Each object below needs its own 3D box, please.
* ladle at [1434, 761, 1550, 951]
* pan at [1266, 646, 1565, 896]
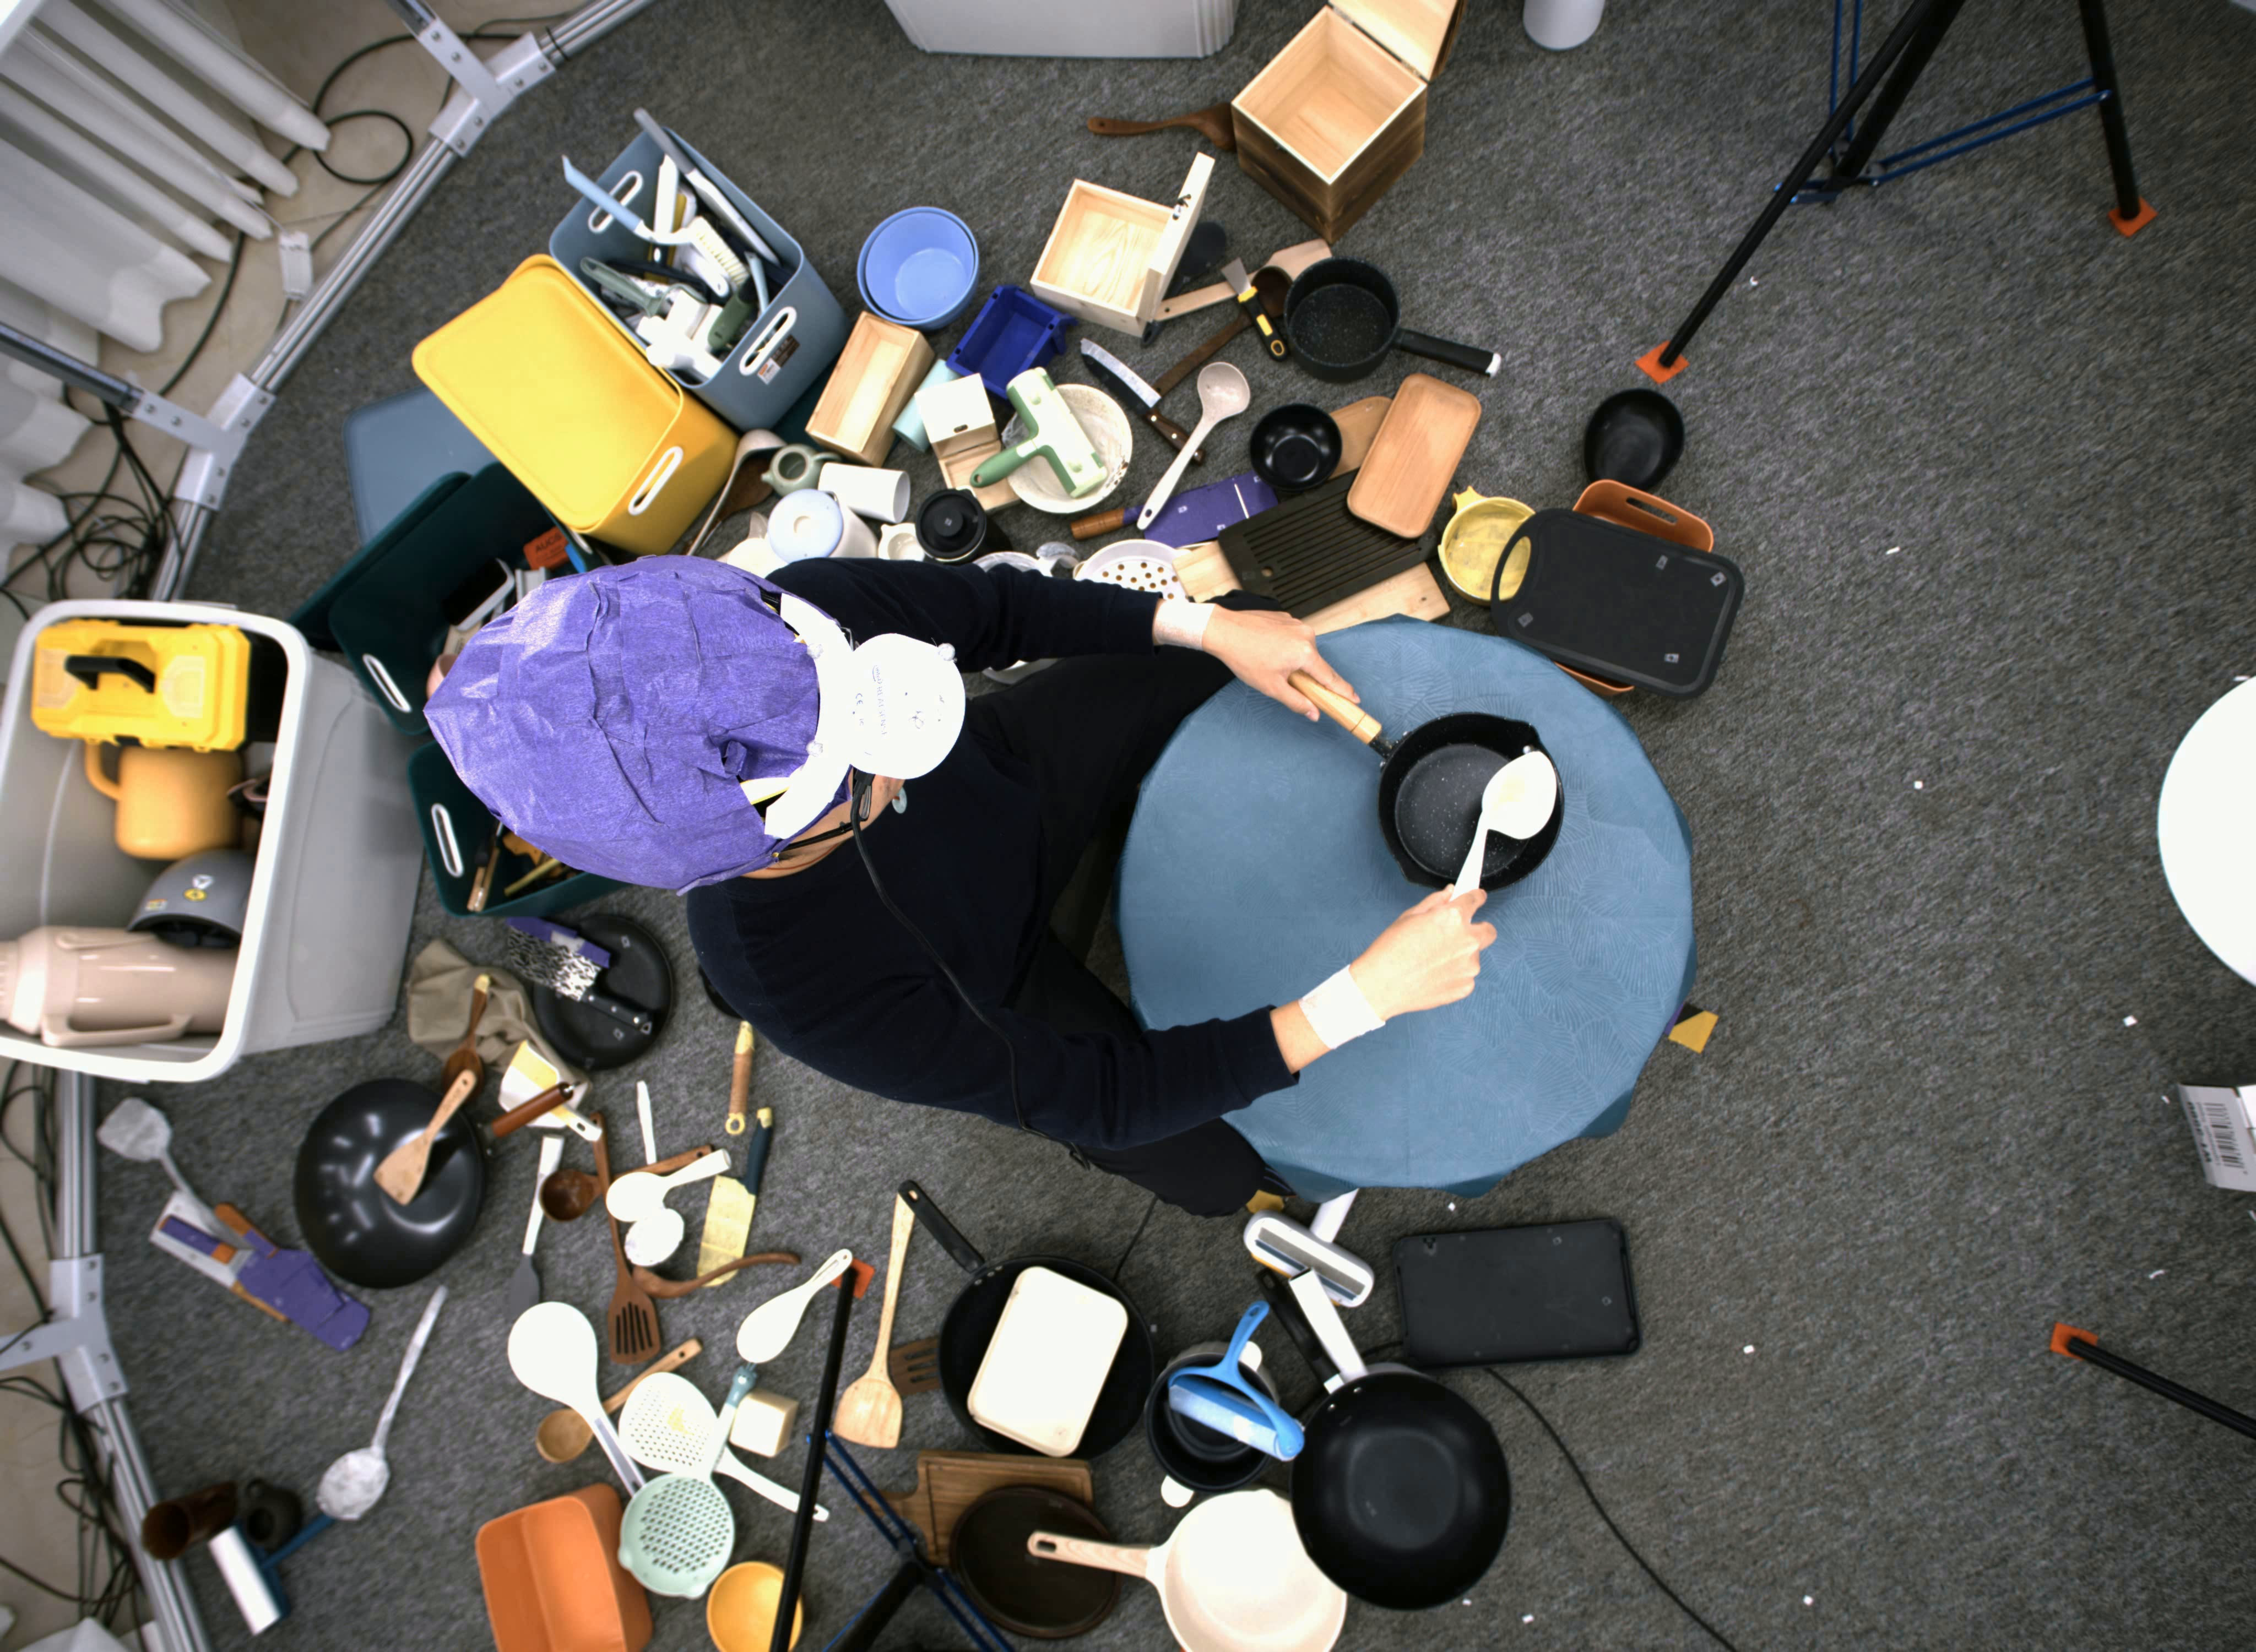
[{"bbox_3d":[0.345,0.027,1.284,0.070,0.286,0.092,4,119,22],"label":"ladle"},{"bbox_3d":[0.282,-0.068,1.410,0.342,0.108,0.208,37,94,9],"label":"pan"}]
